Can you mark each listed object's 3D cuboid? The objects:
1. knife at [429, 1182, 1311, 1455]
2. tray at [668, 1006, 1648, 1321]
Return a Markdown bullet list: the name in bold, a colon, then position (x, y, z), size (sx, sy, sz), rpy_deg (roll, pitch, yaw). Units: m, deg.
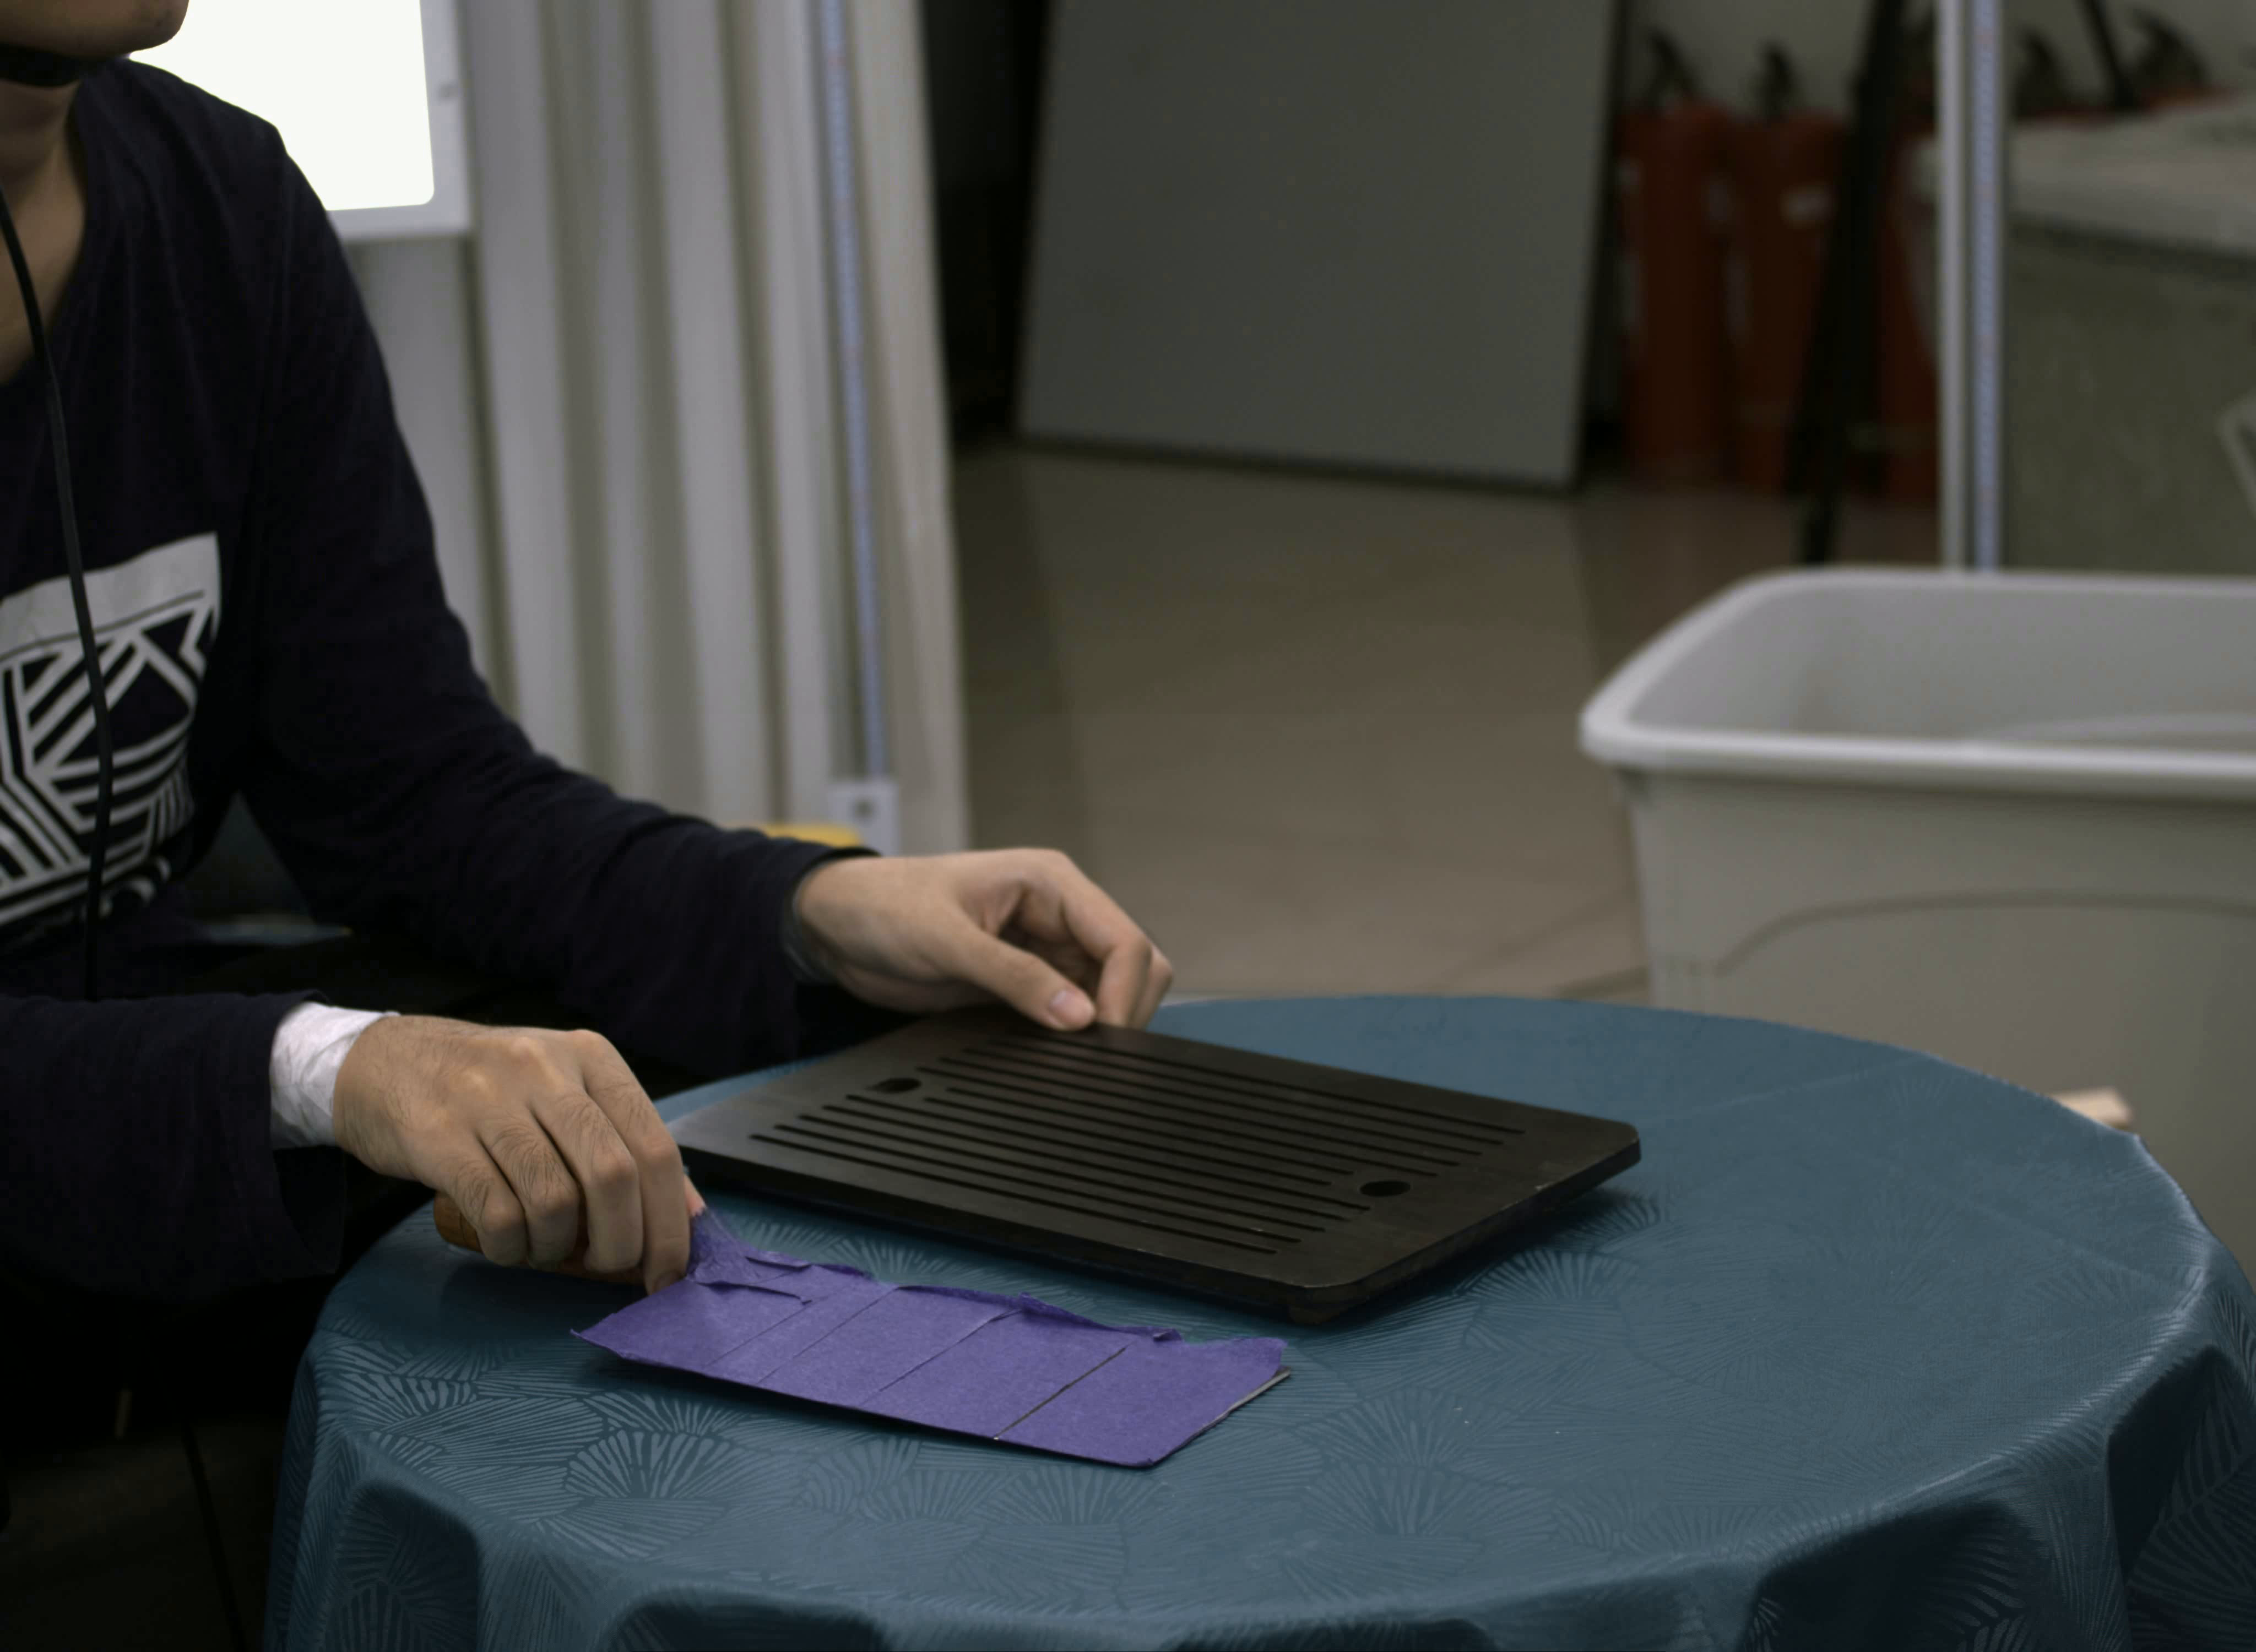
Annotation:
- **knife**: position (-0.101, 0.148, 1.637), size (0.317, 0.032, 0.102), rpy_deg (5, 16, 33)
- **tray**: position (0.007, 0.108, 1.778), size (0.308, 0.019, 0.167), rpy_deg (8, 20, 42)
